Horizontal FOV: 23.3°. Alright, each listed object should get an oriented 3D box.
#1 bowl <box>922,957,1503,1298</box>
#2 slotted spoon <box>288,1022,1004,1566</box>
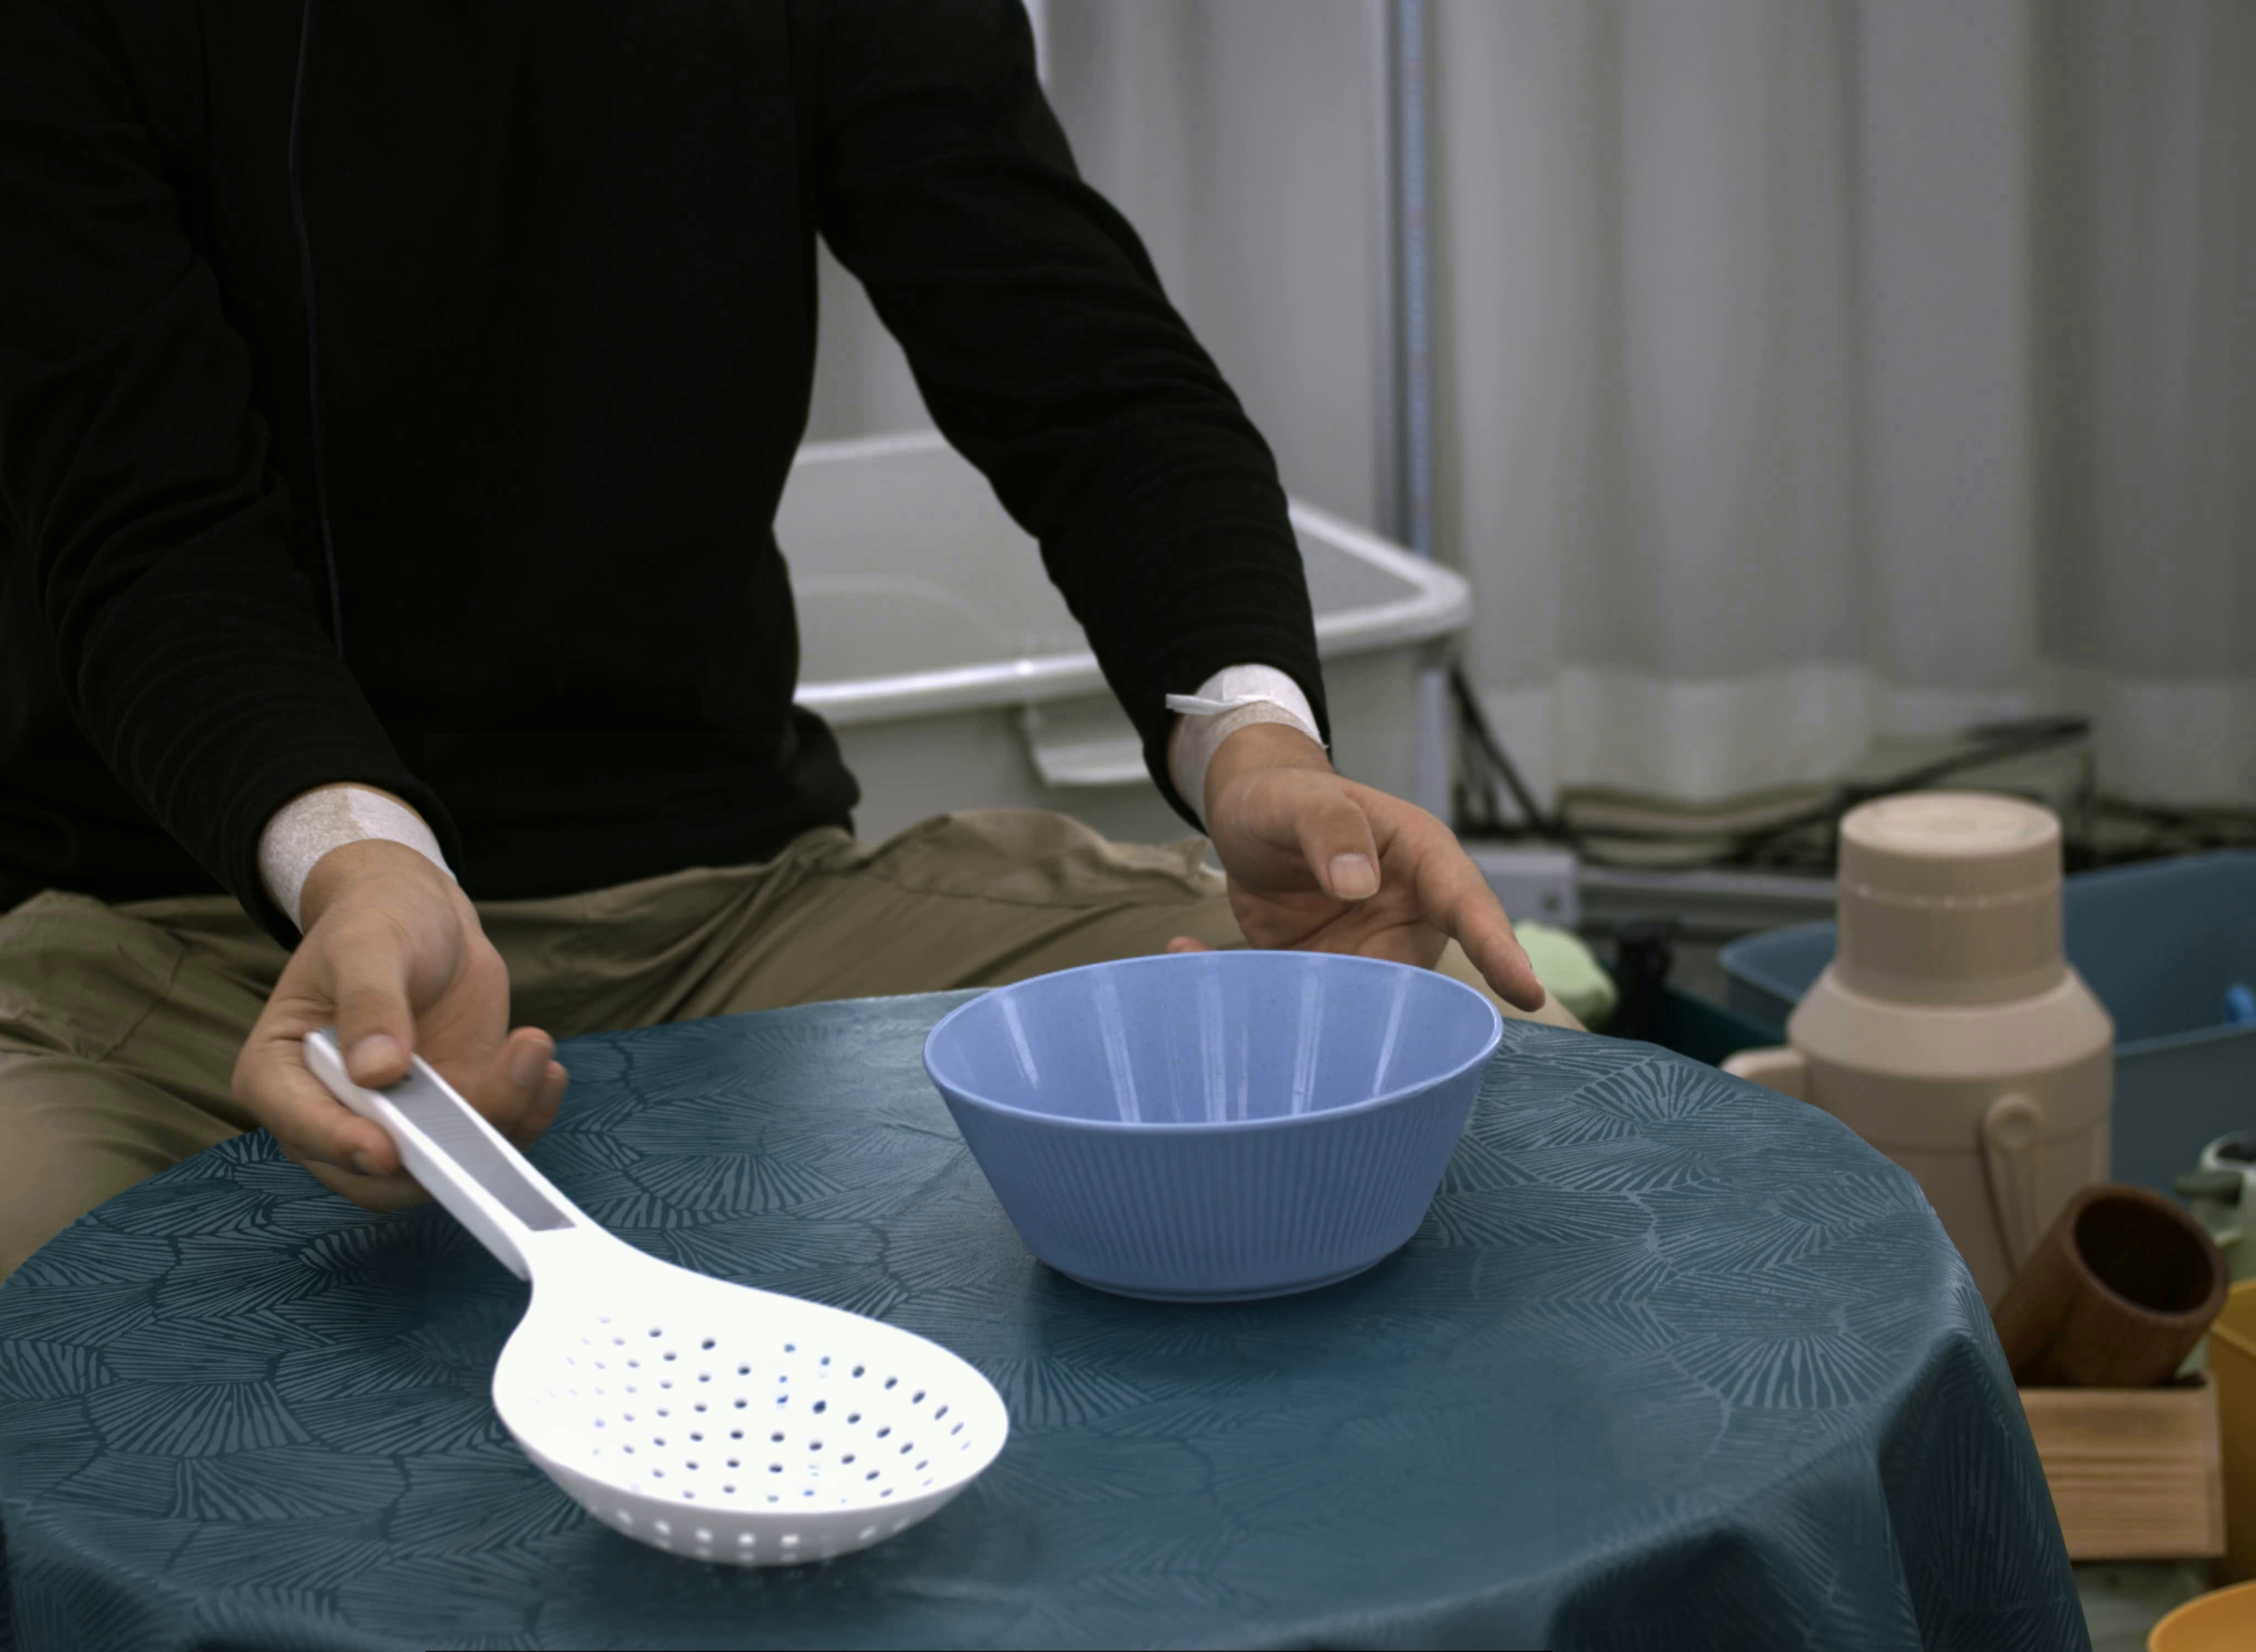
[{"bbox_3d":[0.027,0.093,1.654,0.175,0.070,0.177,-3,14,0],"label":"bowl"},{"bbox_3d":[-0.156,0.123,1.527,0.135,0.045,0.354,-7,27,-30],"label":"slotted spoon"}]
